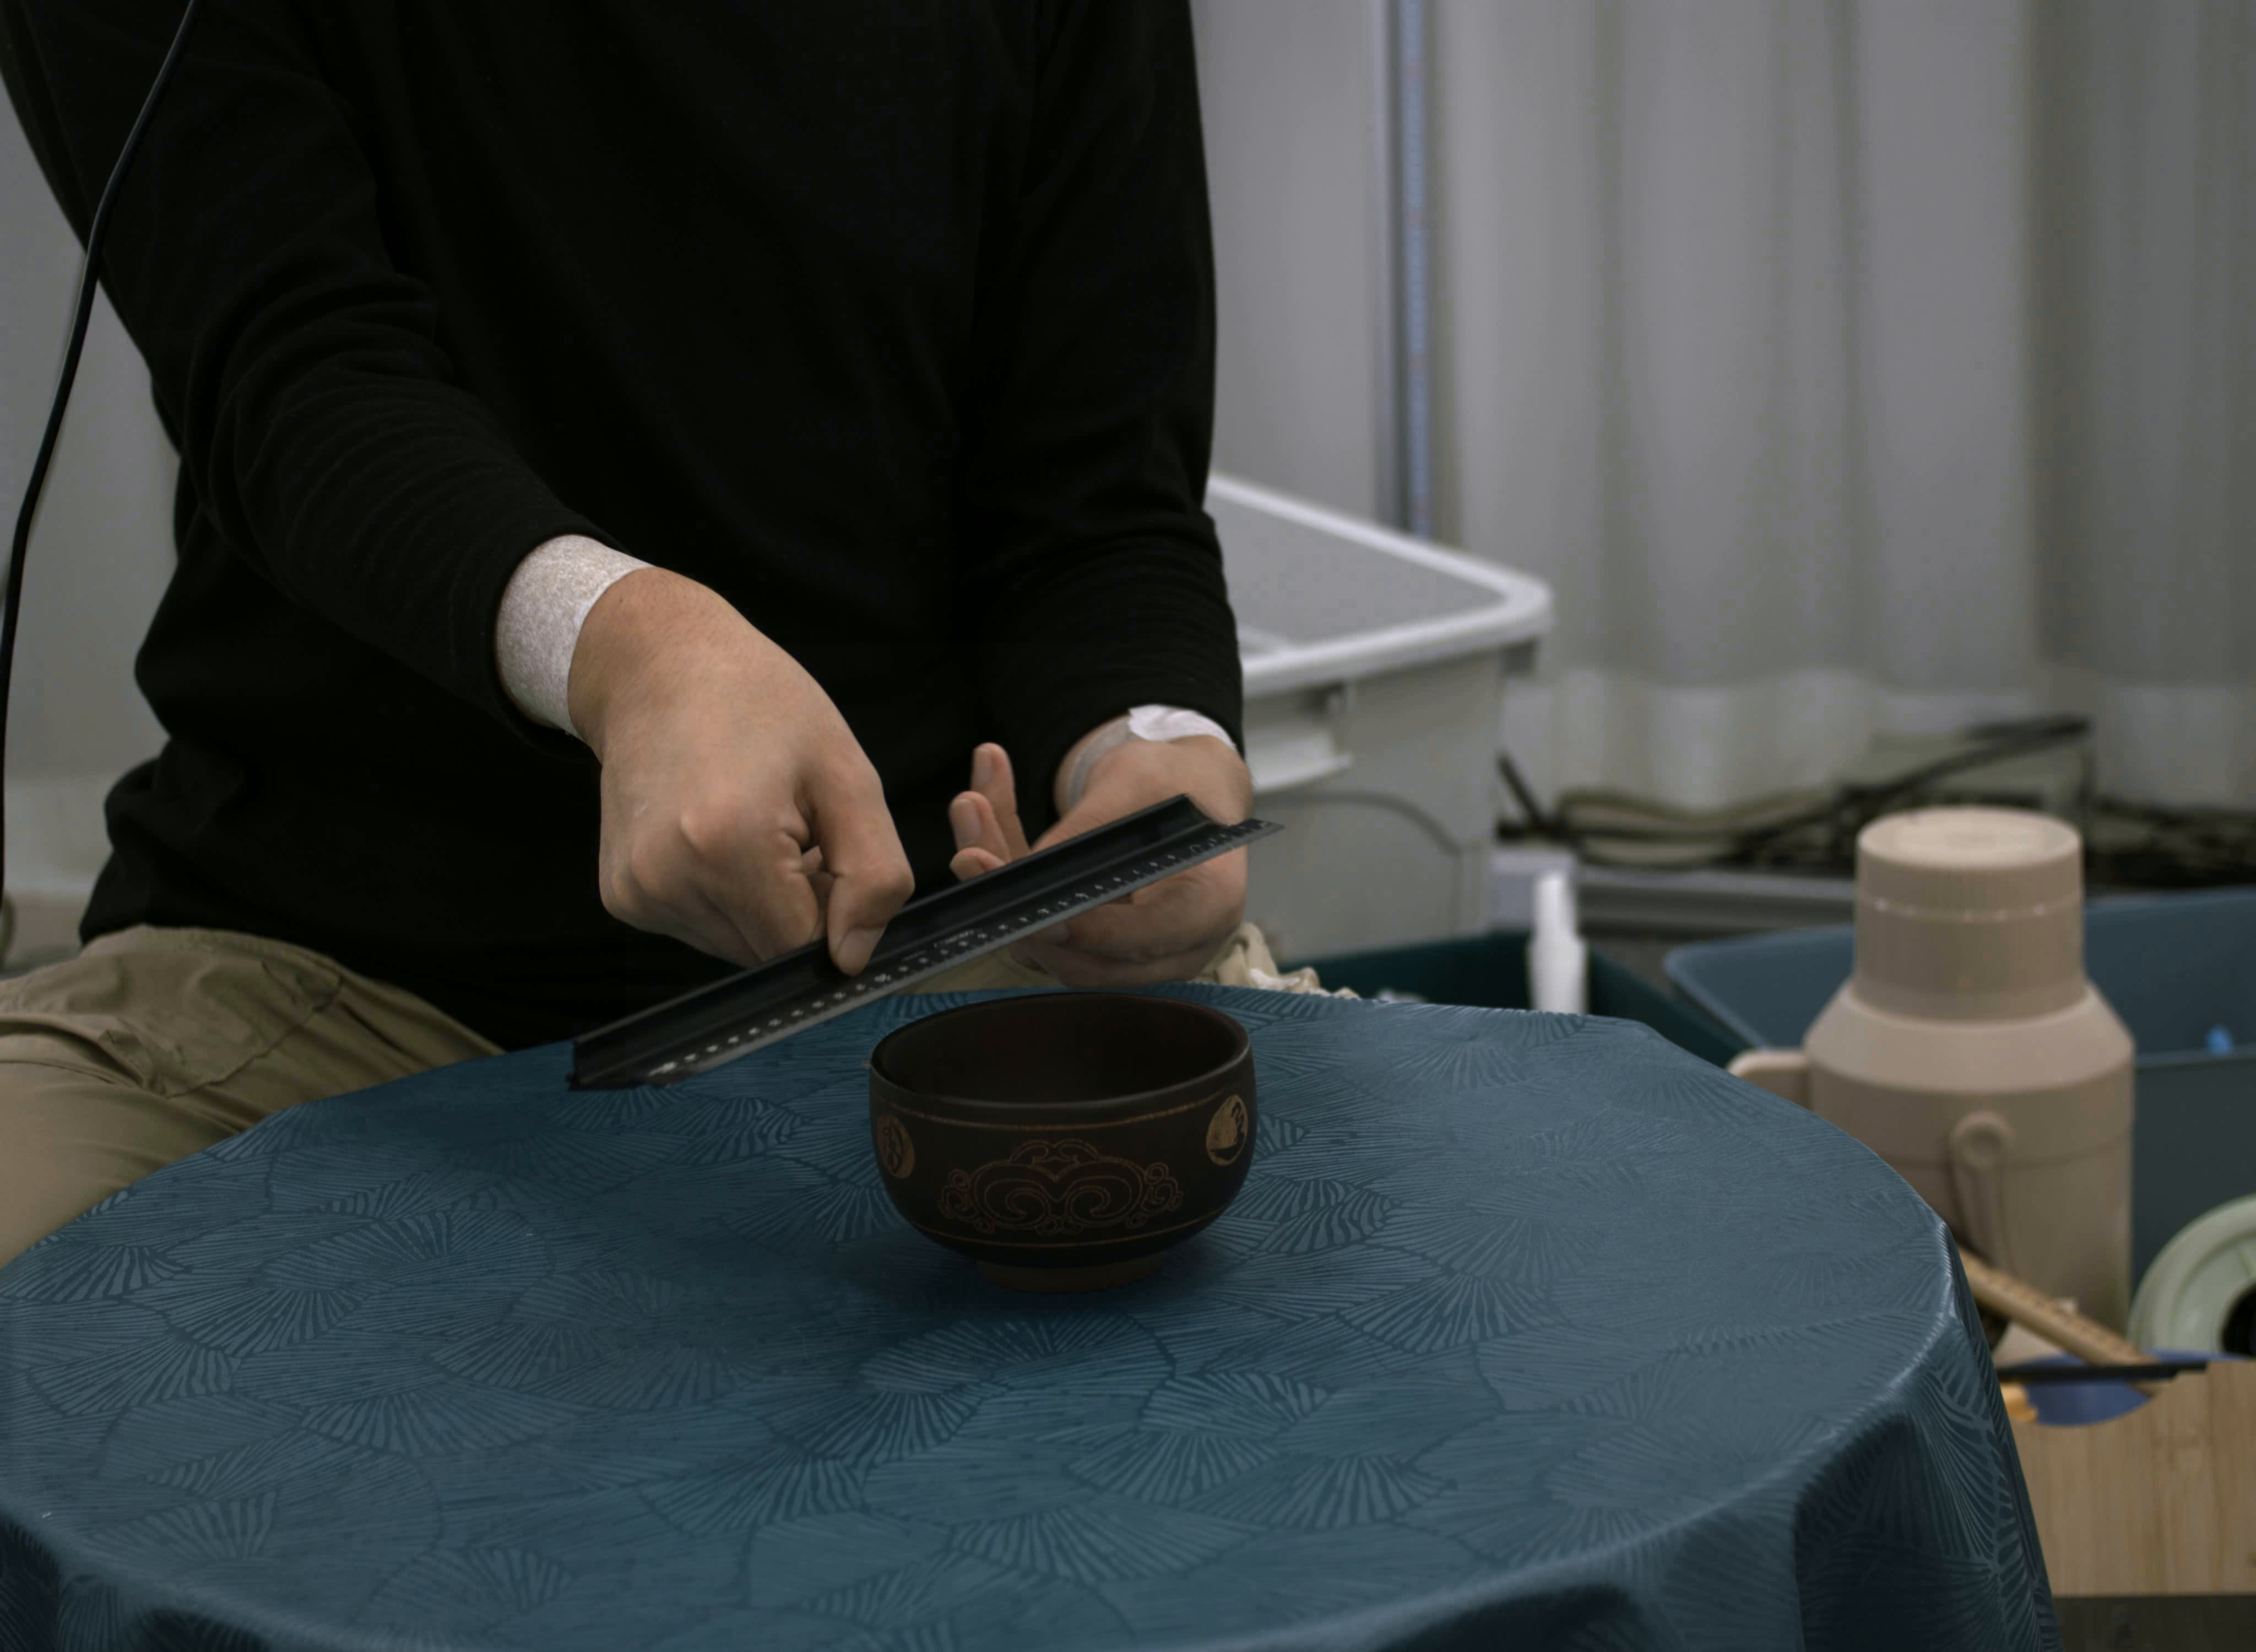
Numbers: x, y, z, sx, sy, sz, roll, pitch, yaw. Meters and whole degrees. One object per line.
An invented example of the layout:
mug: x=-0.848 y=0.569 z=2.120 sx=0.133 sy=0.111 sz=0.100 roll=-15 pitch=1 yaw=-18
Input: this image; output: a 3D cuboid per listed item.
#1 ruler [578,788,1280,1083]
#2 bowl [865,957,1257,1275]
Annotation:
ruler: x=-0.054 y=0.029 z=1.650 sx=0.039 sy=0.017 sz=0.312 roll=-1 pitch=13 yaw=36
bowl: x=-0.020 y=0.092 z=1.644 sx=0.117 sy=0.069 sz=0.119 roll=1 pitch=20 yaw=-1
